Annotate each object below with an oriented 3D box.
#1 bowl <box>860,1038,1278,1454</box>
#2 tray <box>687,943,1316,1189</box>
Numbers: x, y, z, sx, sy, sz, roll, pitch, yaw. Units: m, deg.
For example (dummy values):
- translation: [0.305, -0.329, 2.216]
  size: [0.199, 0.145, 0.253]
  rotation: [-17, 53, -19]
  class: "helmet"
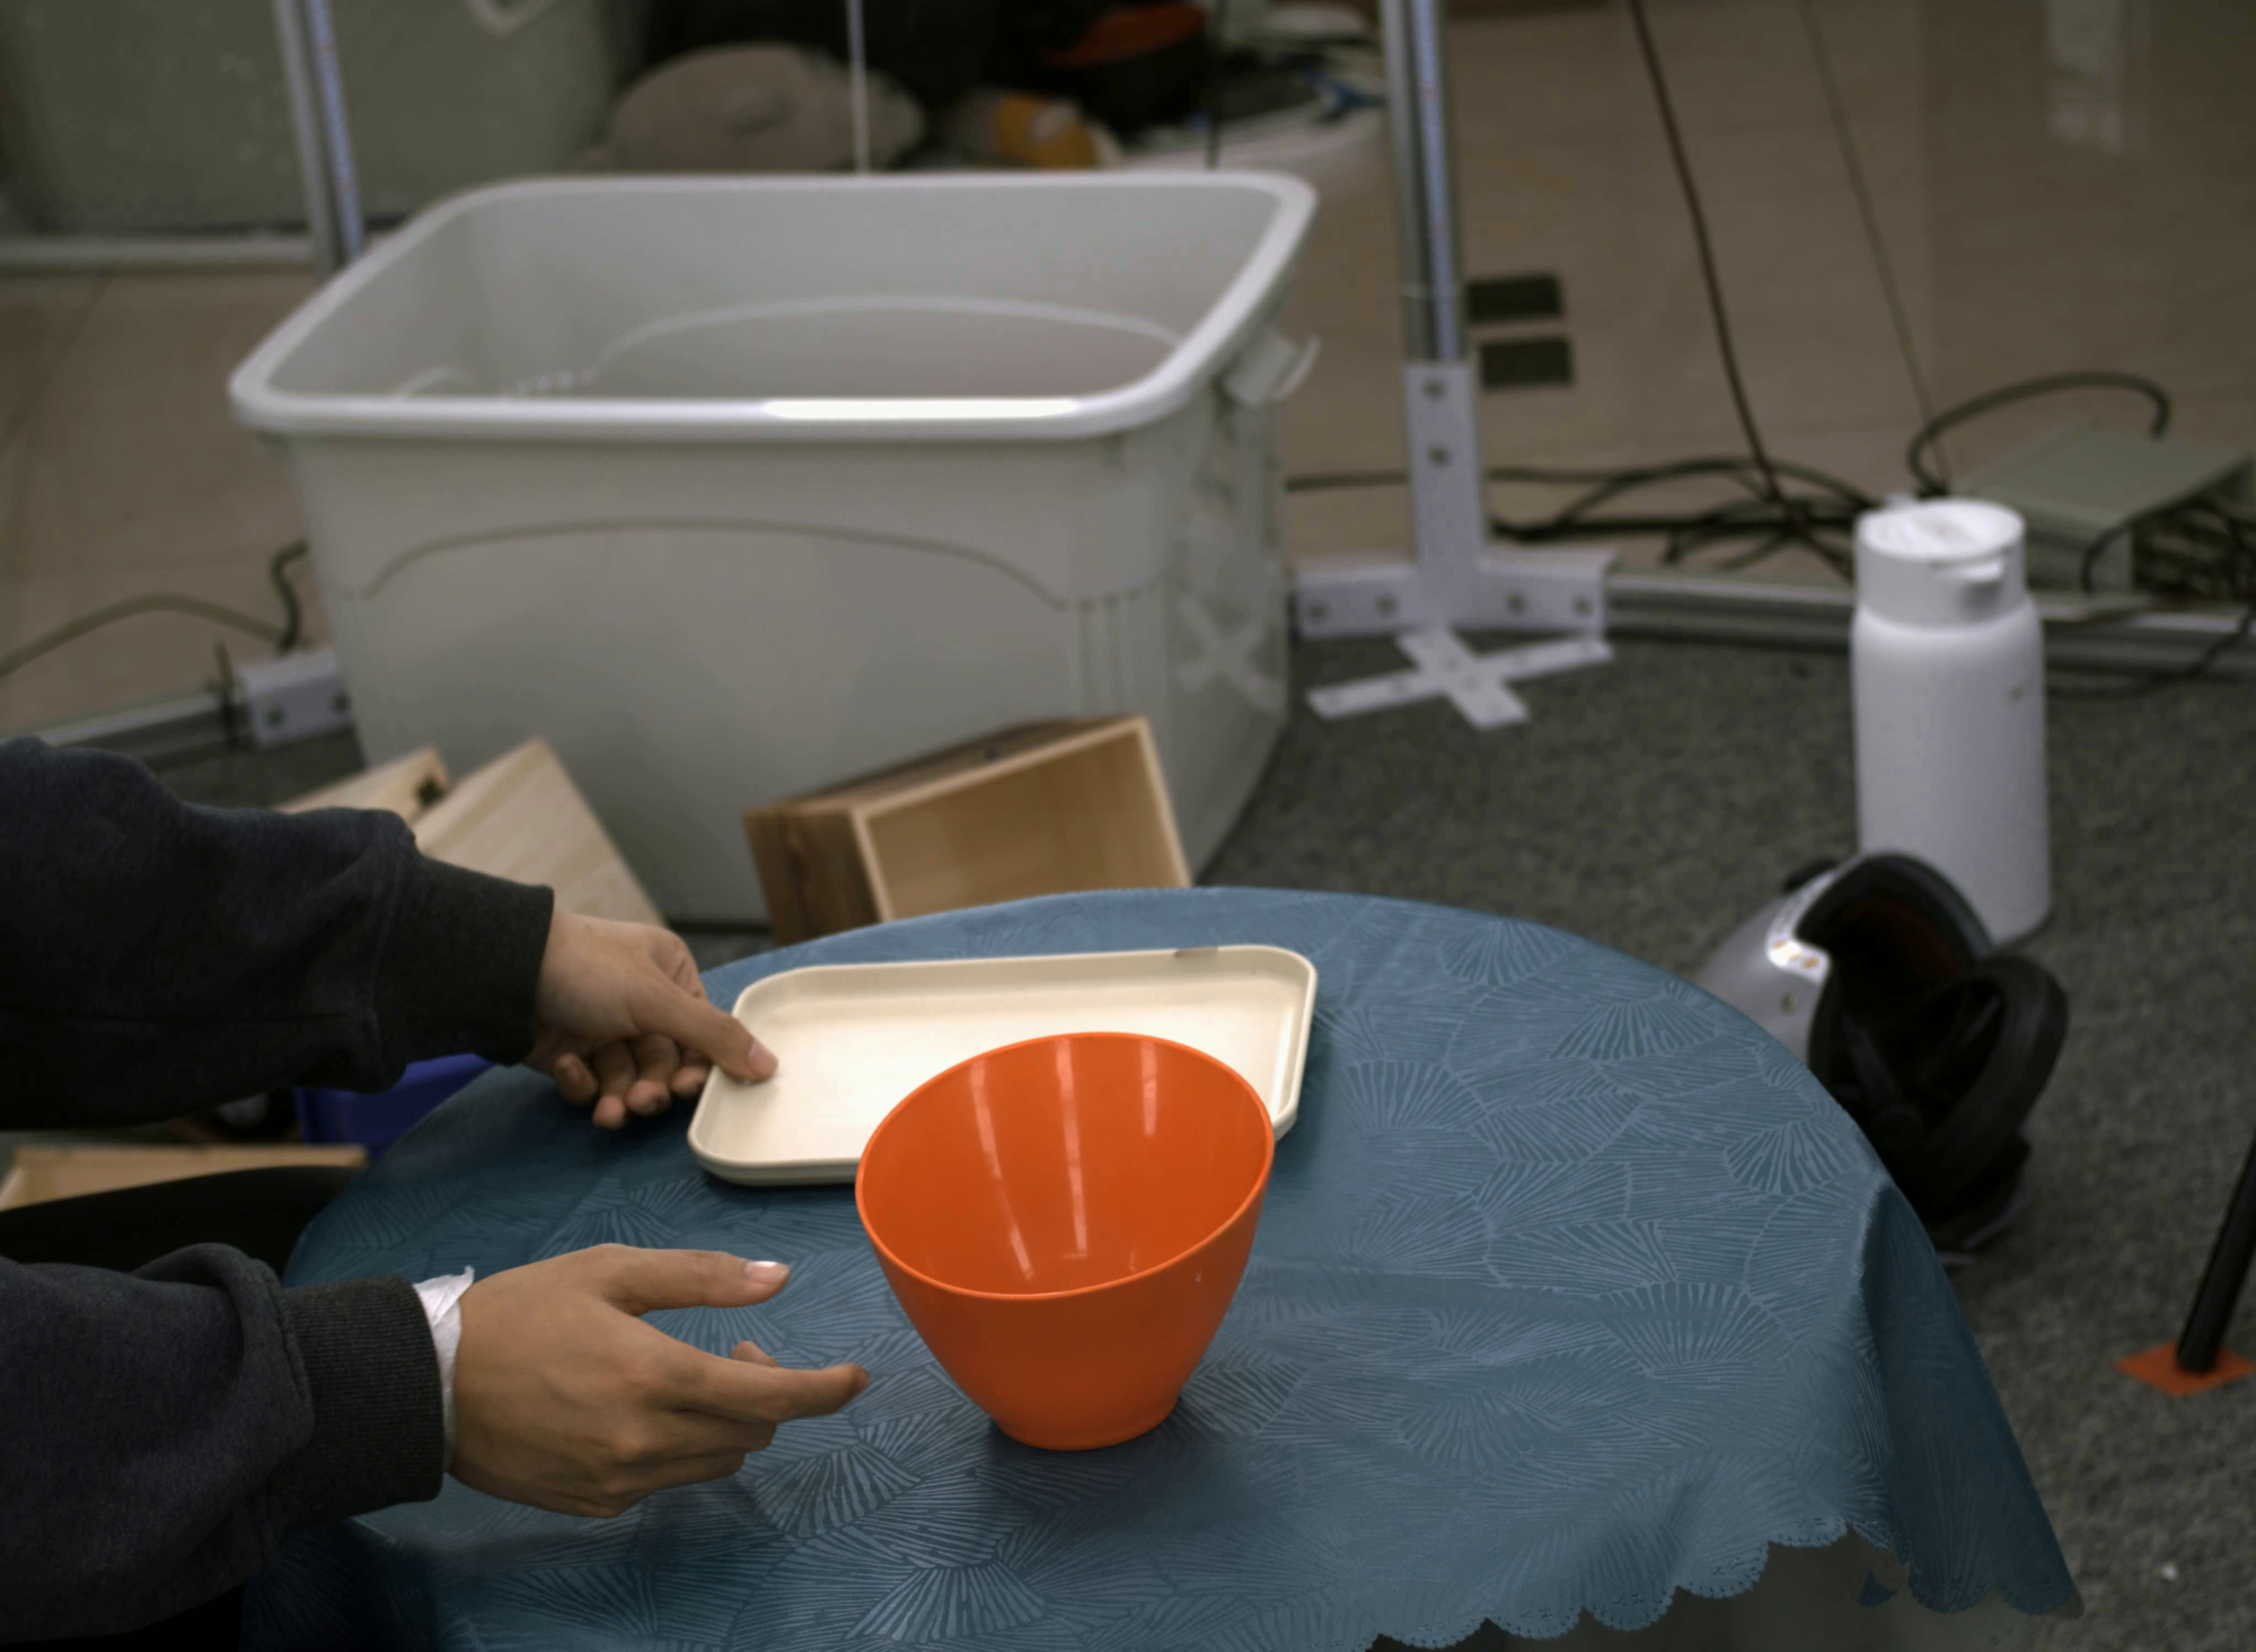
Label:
- translation: [-0.017, 0.154, 1.997]
  size: [0.148, 0.106, 0.146]
  rotation: [-4, 25, 2]
  class: "bowl"
- translation: [-0.047, 0.095, 2.231]
  size: [0.239, 0.018, 0.169]
  rotation: [-3, 26, 8]
  class: "tray"
